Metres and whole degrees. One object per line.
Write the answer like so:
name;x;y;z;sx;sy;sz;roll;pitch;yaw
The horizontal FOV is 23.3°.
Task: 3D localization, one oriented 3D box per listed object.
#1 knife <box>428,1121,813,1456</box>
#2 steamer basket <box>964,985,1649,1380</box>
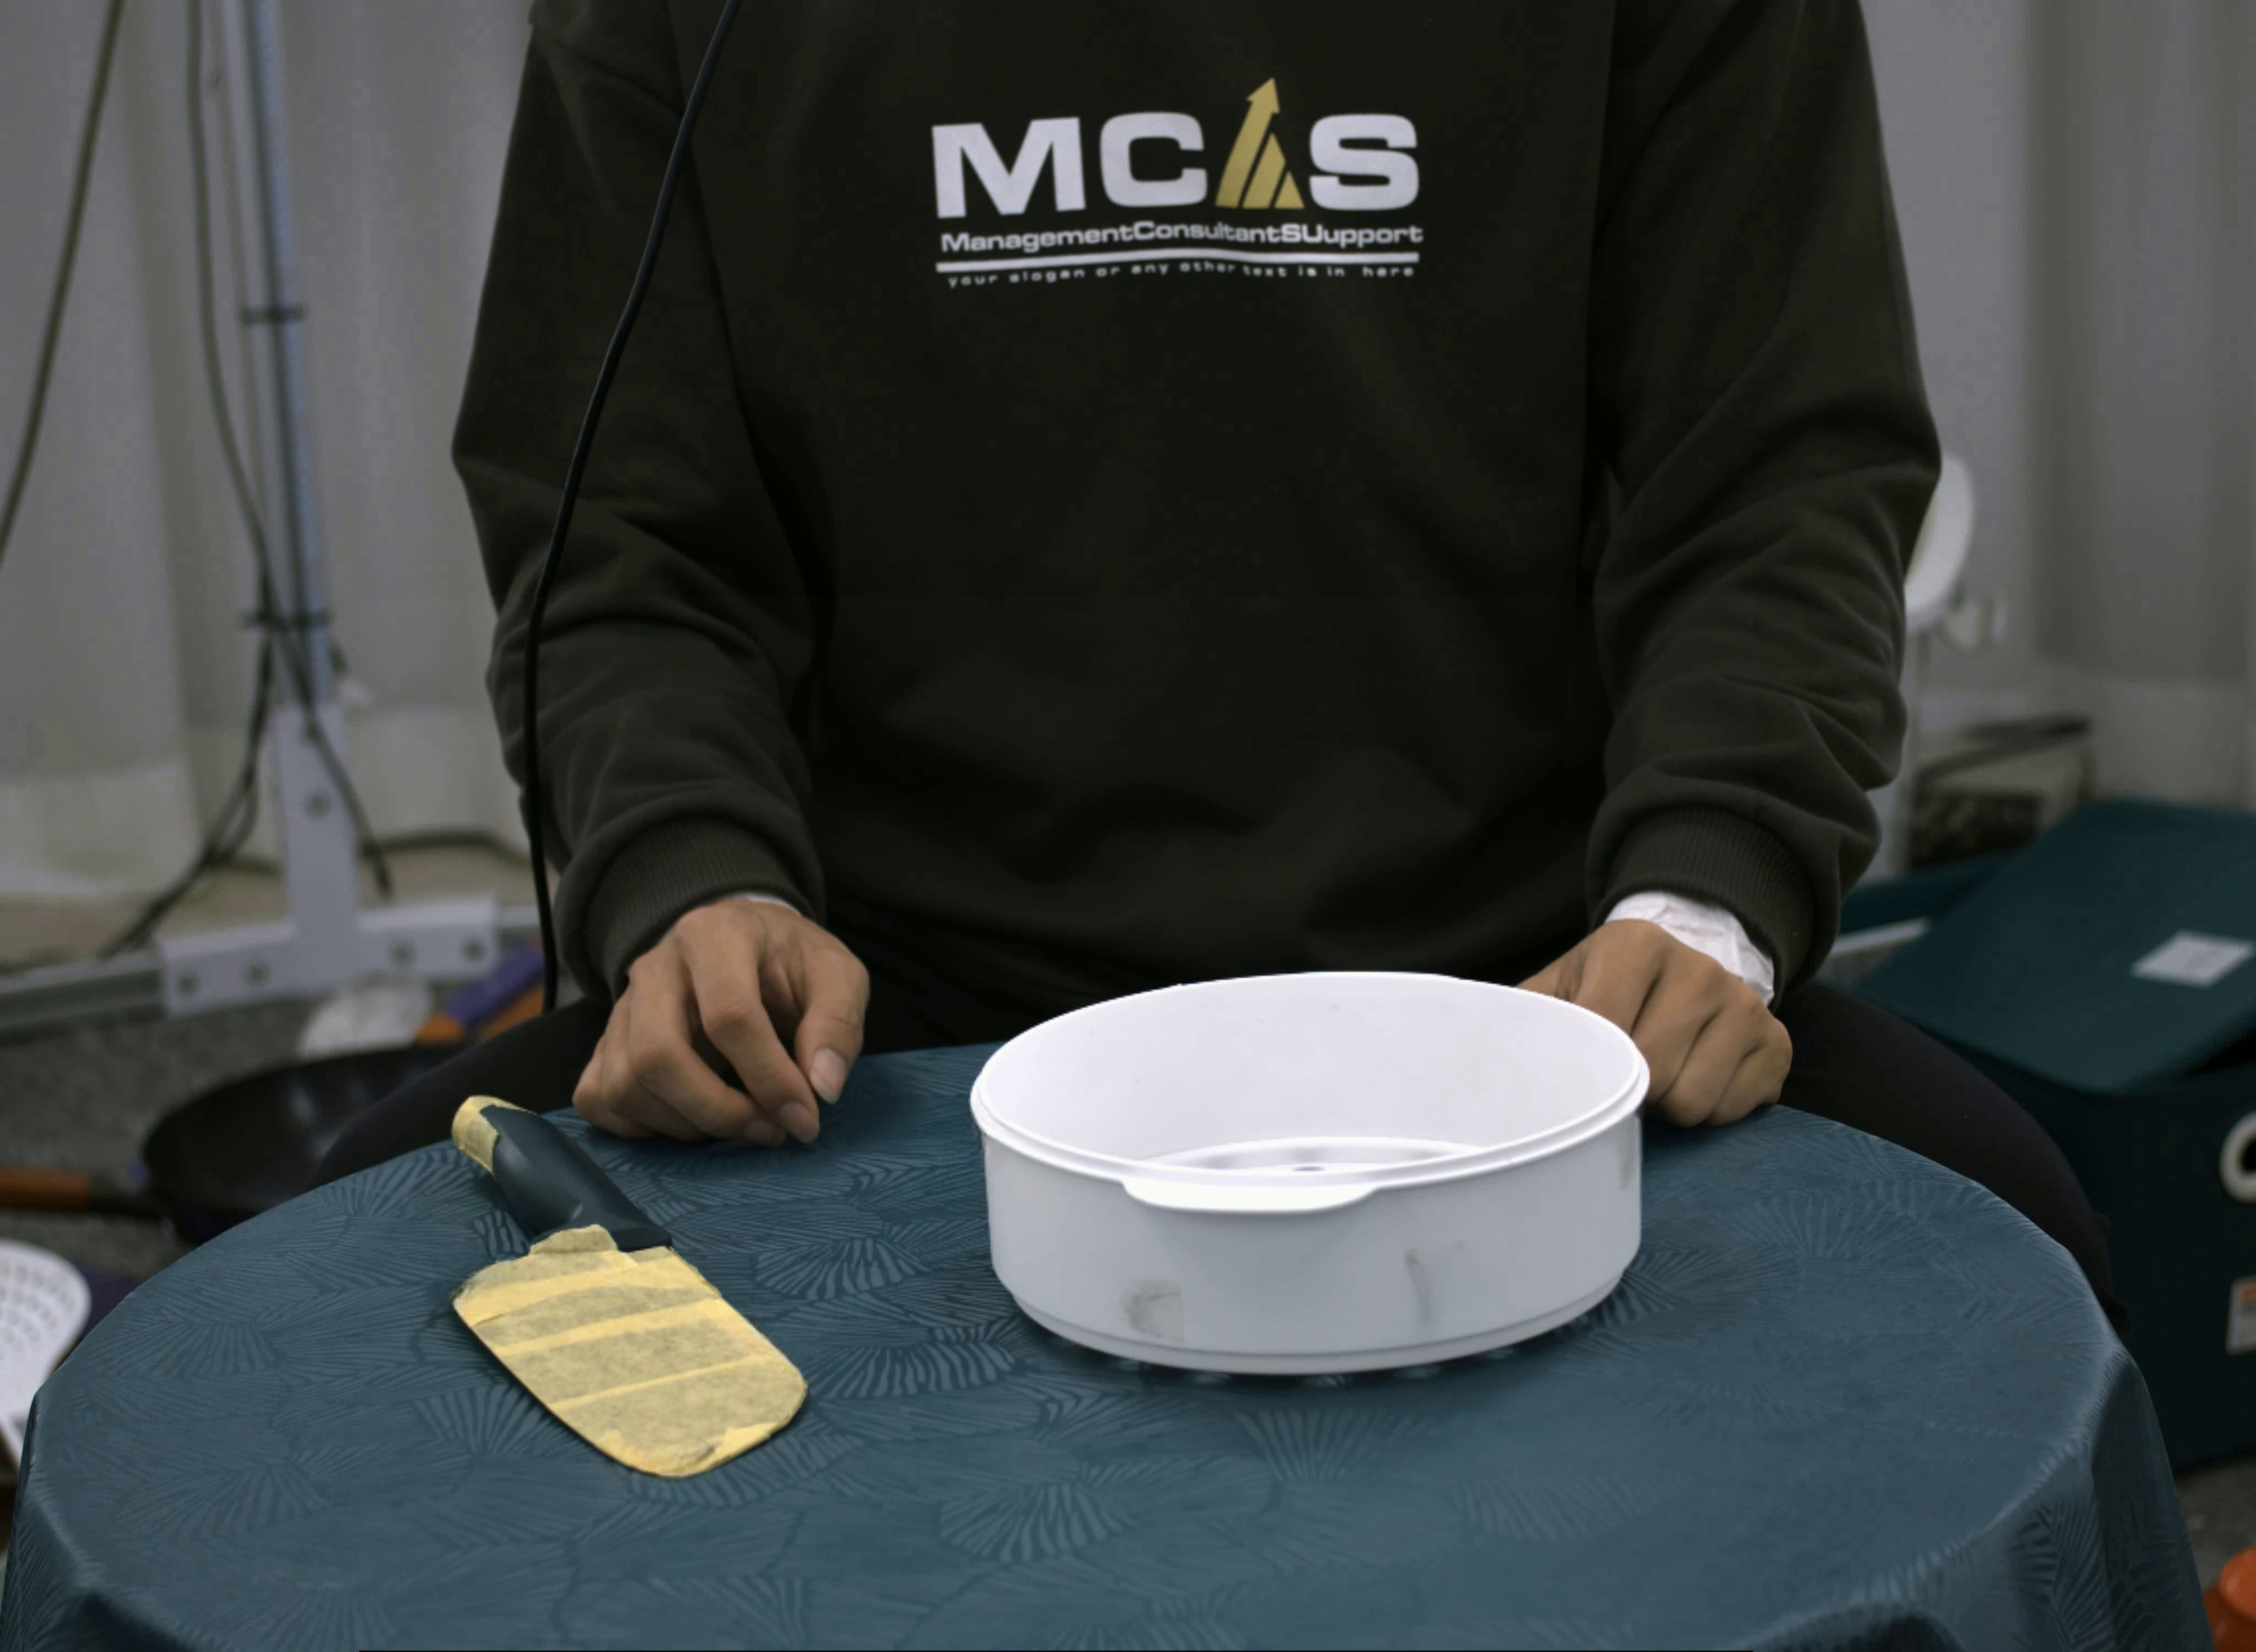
knife;-0.165;0.138;1.631;0.080;0.027;0.292;-7;16;-21
steamer basket;0.053;0.105;1.616;0.201;0.069;0.231;2;14;13
